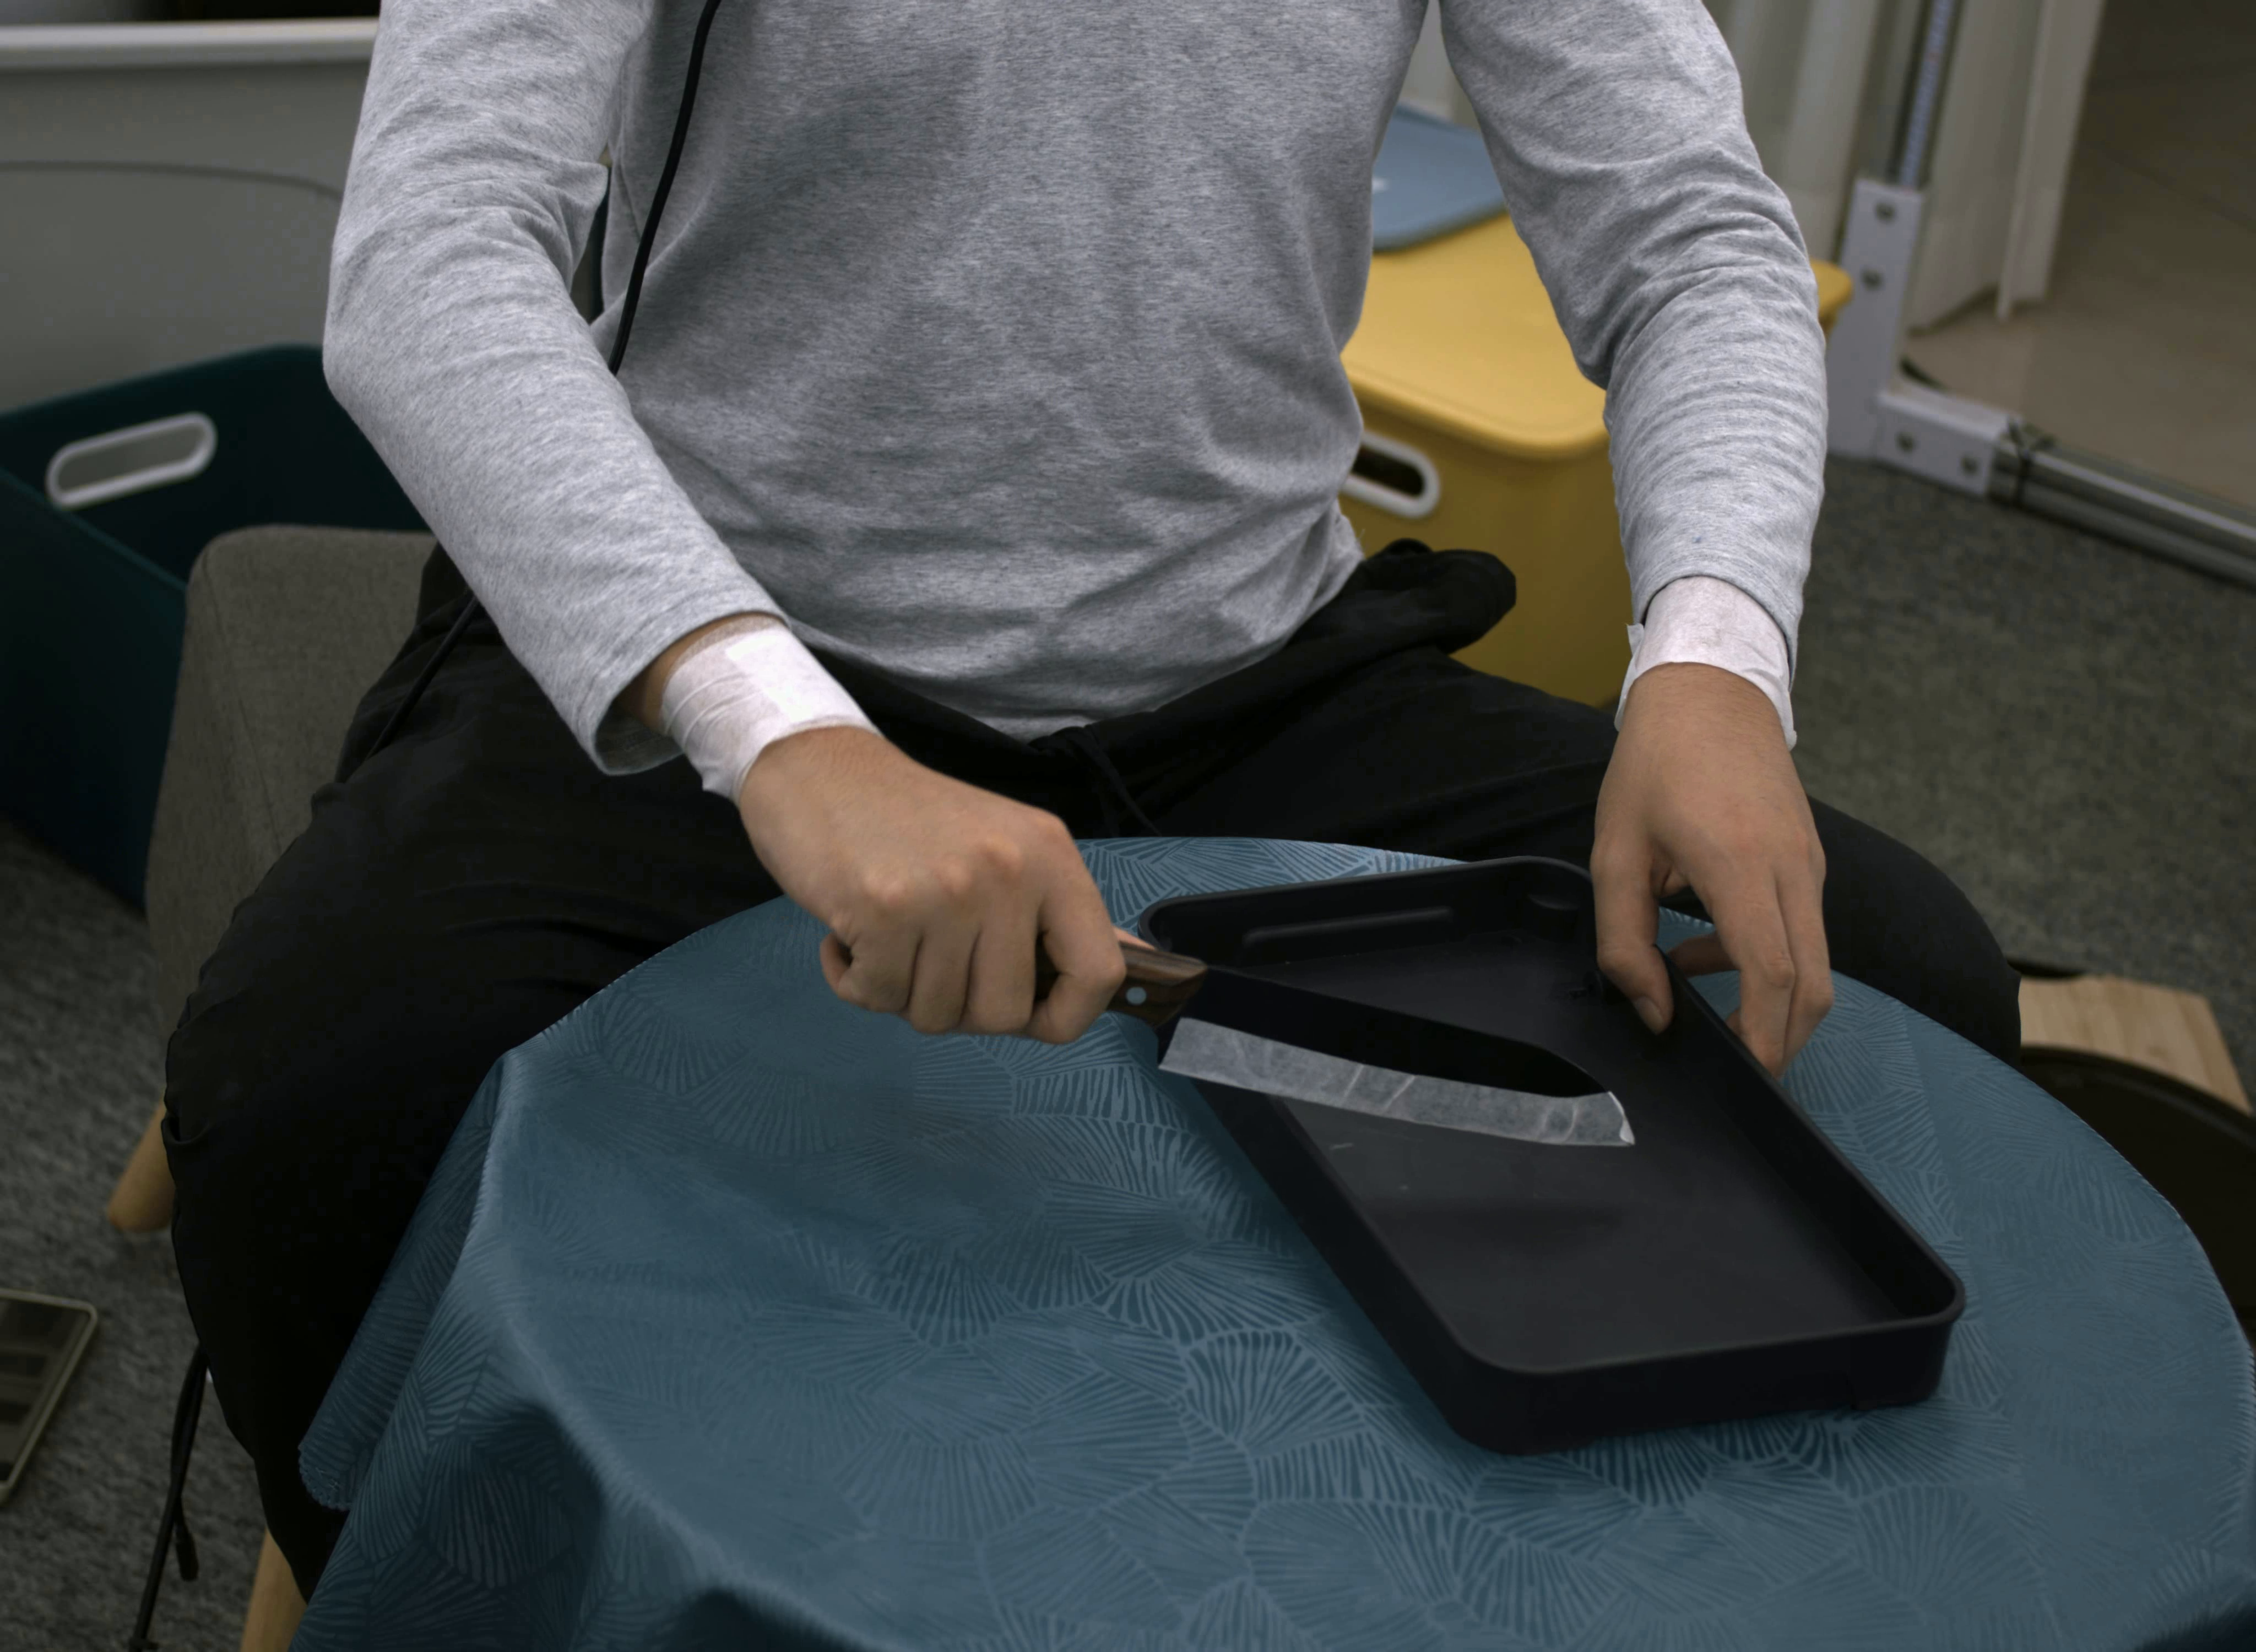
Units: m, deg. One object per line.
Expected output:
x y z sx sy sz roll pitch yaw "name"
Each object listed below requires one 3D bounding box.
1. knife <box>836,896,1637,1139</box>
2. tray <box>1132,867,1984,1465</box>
0.038 0.067 1.789 0.287 0.050 0.020 15 33 -11 "knife"
0.139 0.109 1.823 0.183 0.037 0.321 -7 29 -23 "tray"
